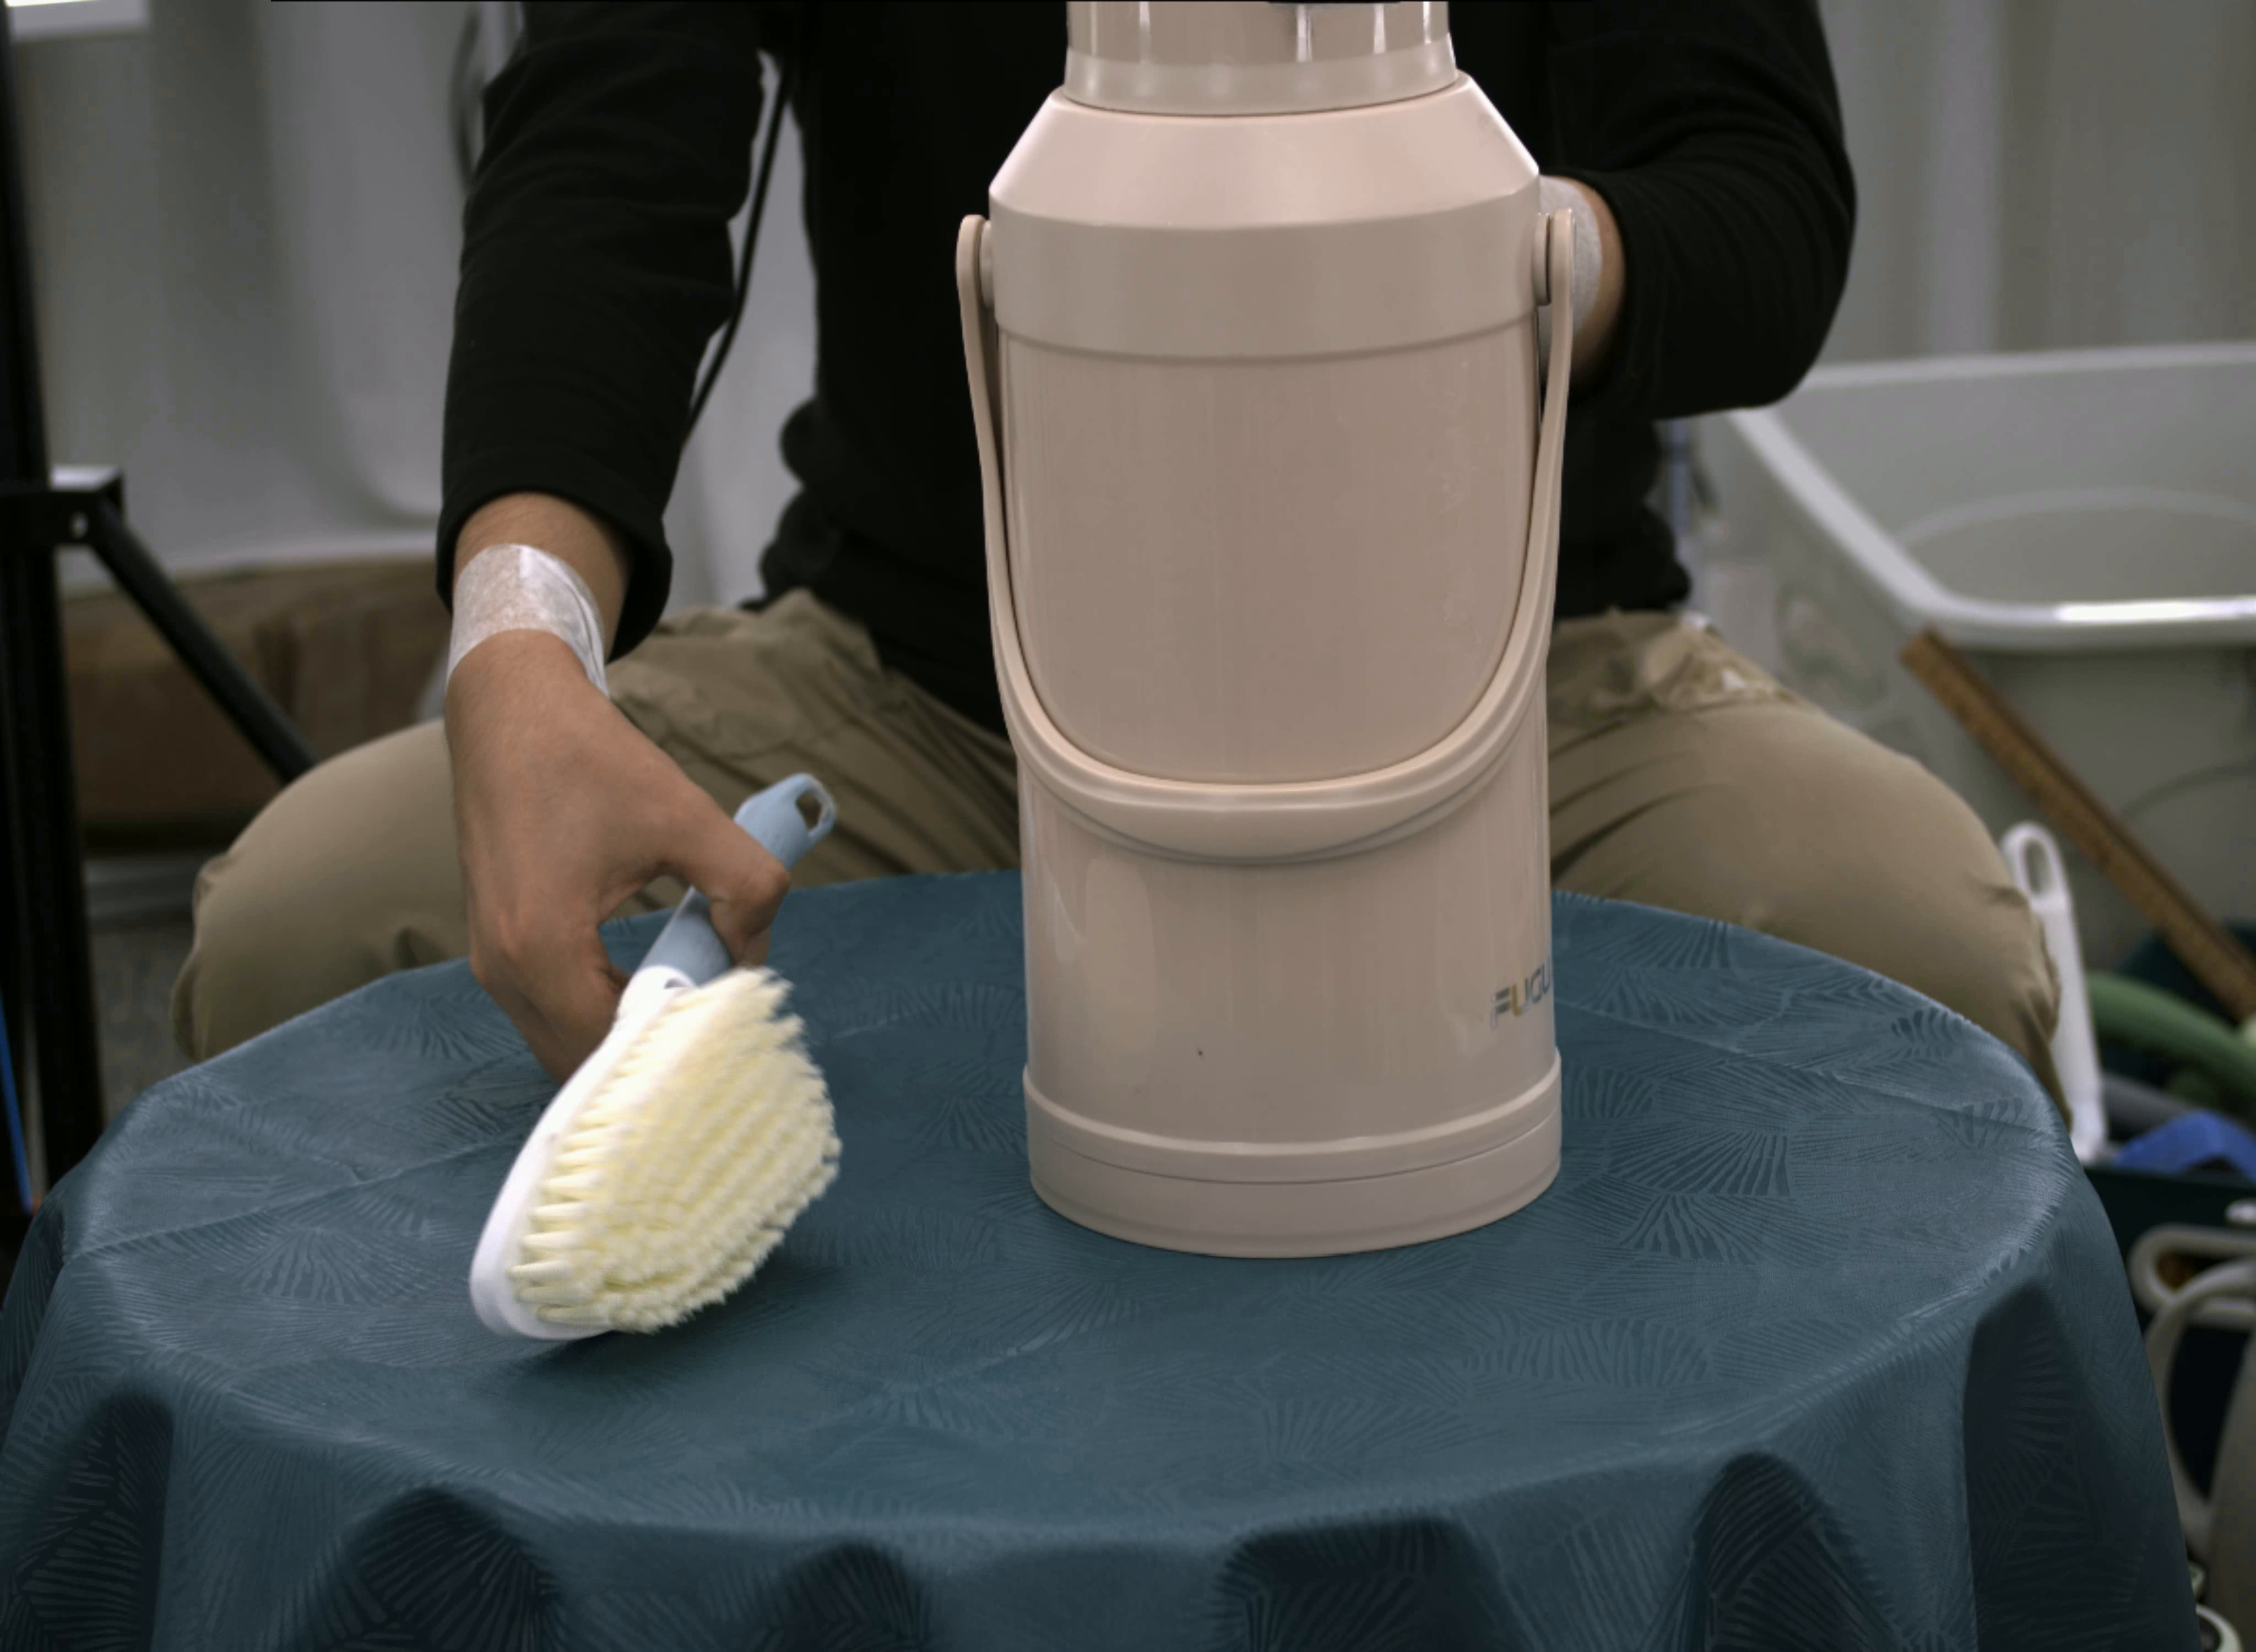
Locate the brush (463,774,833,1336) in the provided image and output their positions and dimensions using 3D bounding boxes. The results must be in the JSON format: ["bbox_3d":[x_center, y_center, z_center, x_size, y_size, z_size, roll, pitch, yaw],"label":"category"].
[{"bbox_3d":[-0.112,0.049,1.568,0.084,0.083,0.324,17,29,5],"label":"brush"}]

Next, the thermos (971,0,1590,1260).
[{"bbox_3d":[0.049,-0.094,1.535,0.176,0.406,0.206,-1,15,10],"label":"thermos"}]
